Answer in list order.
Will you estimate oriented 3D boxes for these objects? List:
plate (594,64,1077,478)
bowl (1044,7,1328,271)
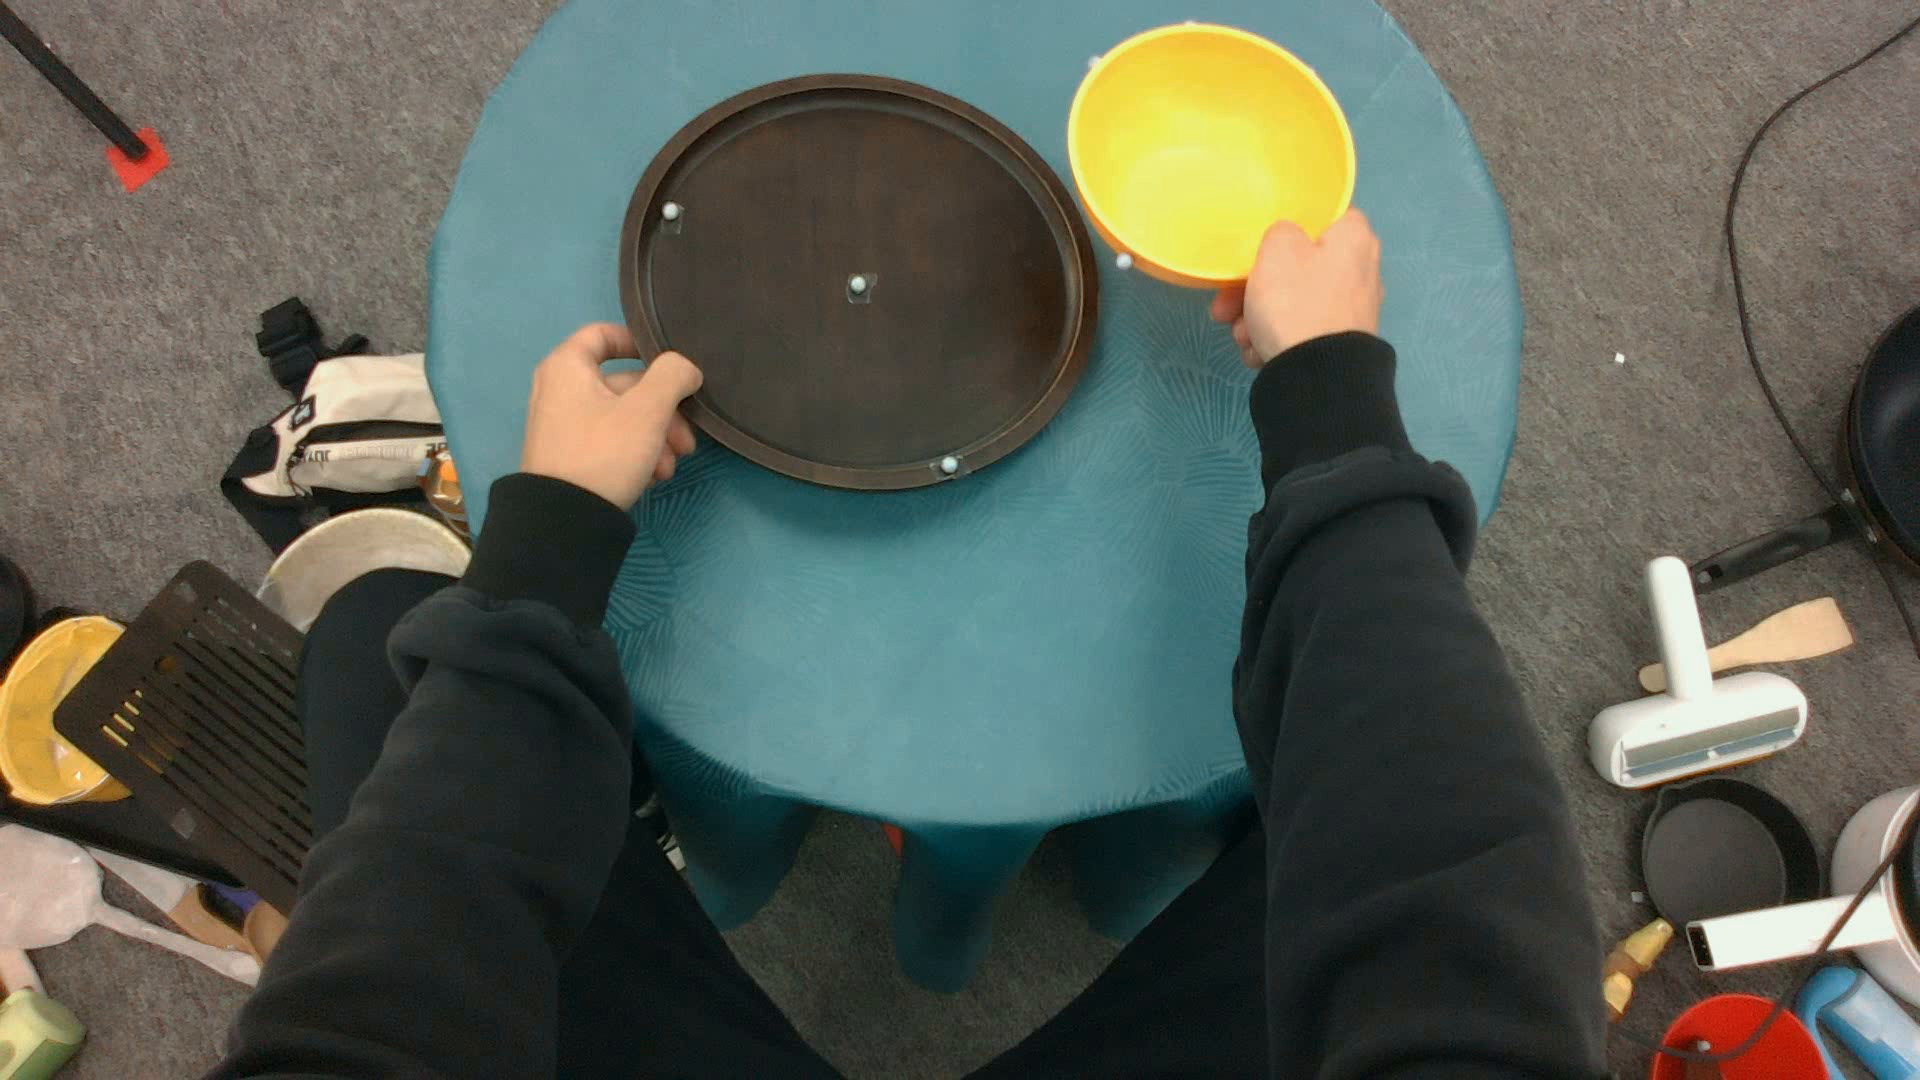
[{"bbox_3d":[-0.062,-0.146,0.727,0.255,0.029,0.255,4,68,-11],"label":"plate"},{"bbox_3d":[0.110,-0.195,0.708,0.145,0.060,0.145,2,74,-7],"label":"bowl"}]
